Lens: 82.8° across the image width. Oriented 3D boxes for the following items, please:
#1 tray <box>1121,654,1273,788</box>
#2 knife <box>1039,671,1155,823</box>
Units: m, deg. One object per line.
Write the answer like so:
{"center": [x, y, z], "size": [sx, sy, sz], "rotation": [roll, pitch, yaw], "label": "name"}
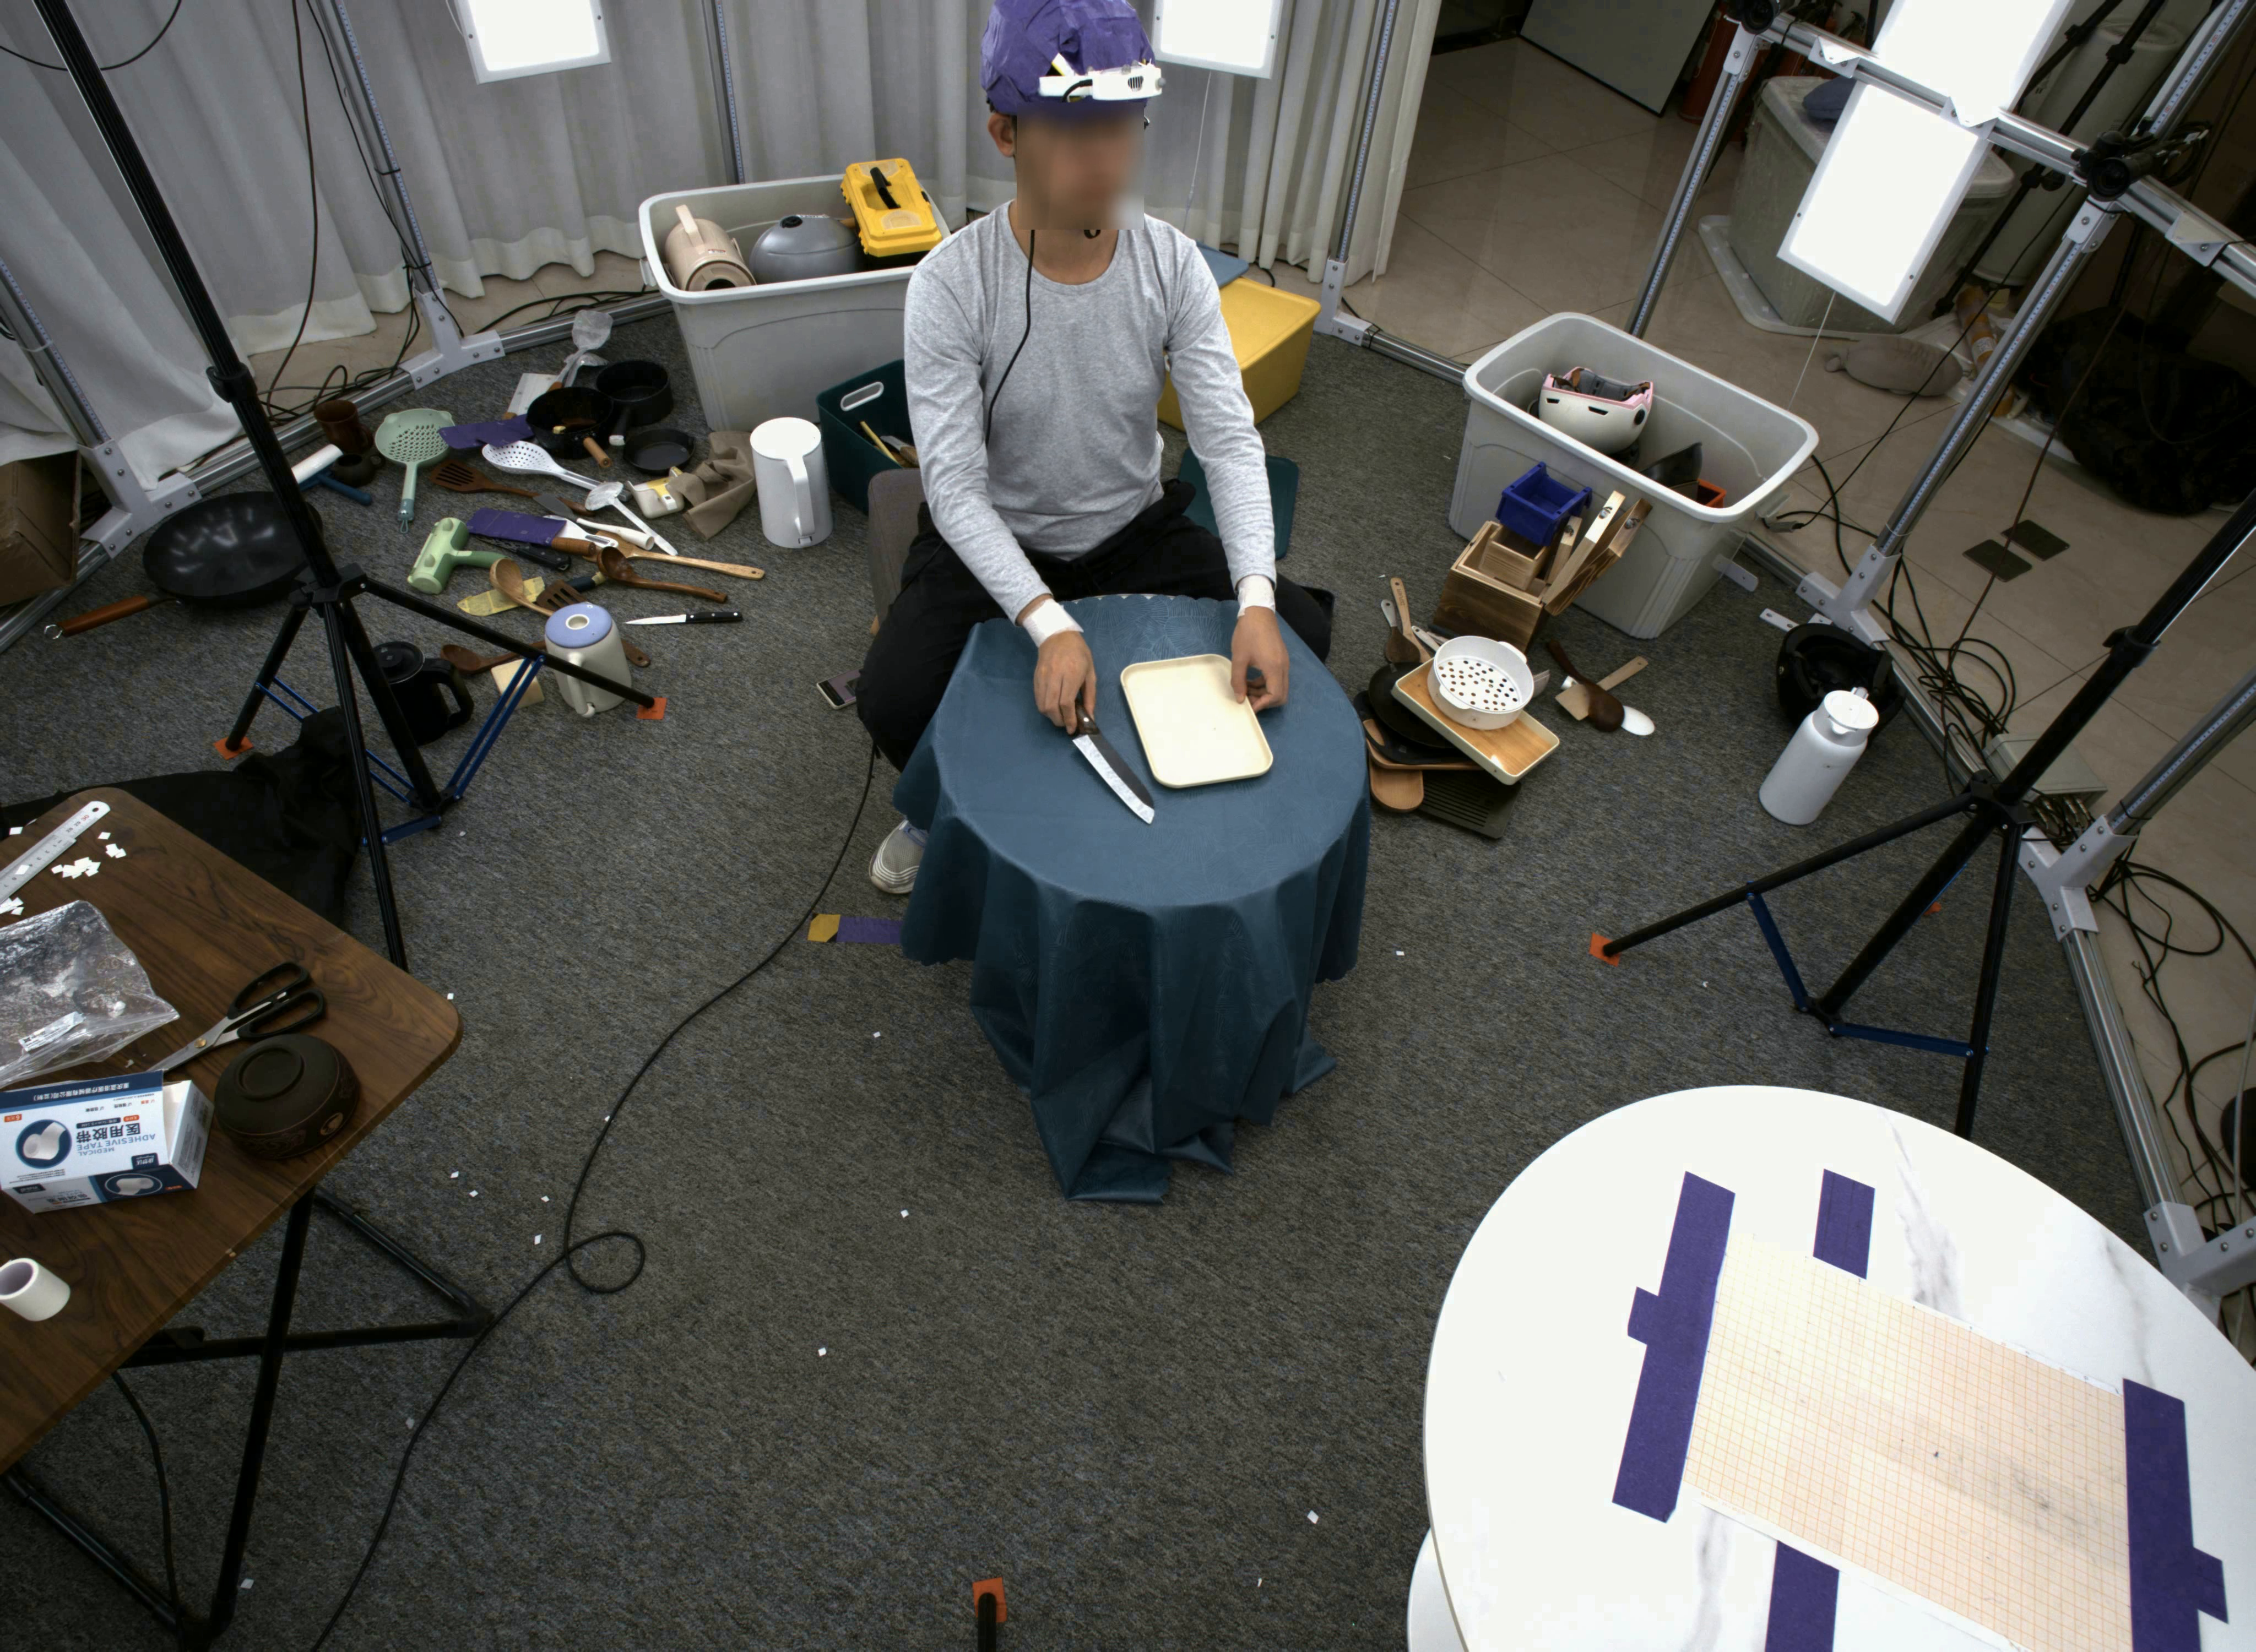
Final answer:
{"center": [0.093, -0.148, 1.791], "size": [0.171, 0.017, 0.246], "rotation": [-8, 50, -11], "label": "tray"}
{"center": [-0.044, -0.109, 1.740], "size": [0.050, 0.019, 0.295], "rotation": [-22, 58, -23], "label": "knife"}
